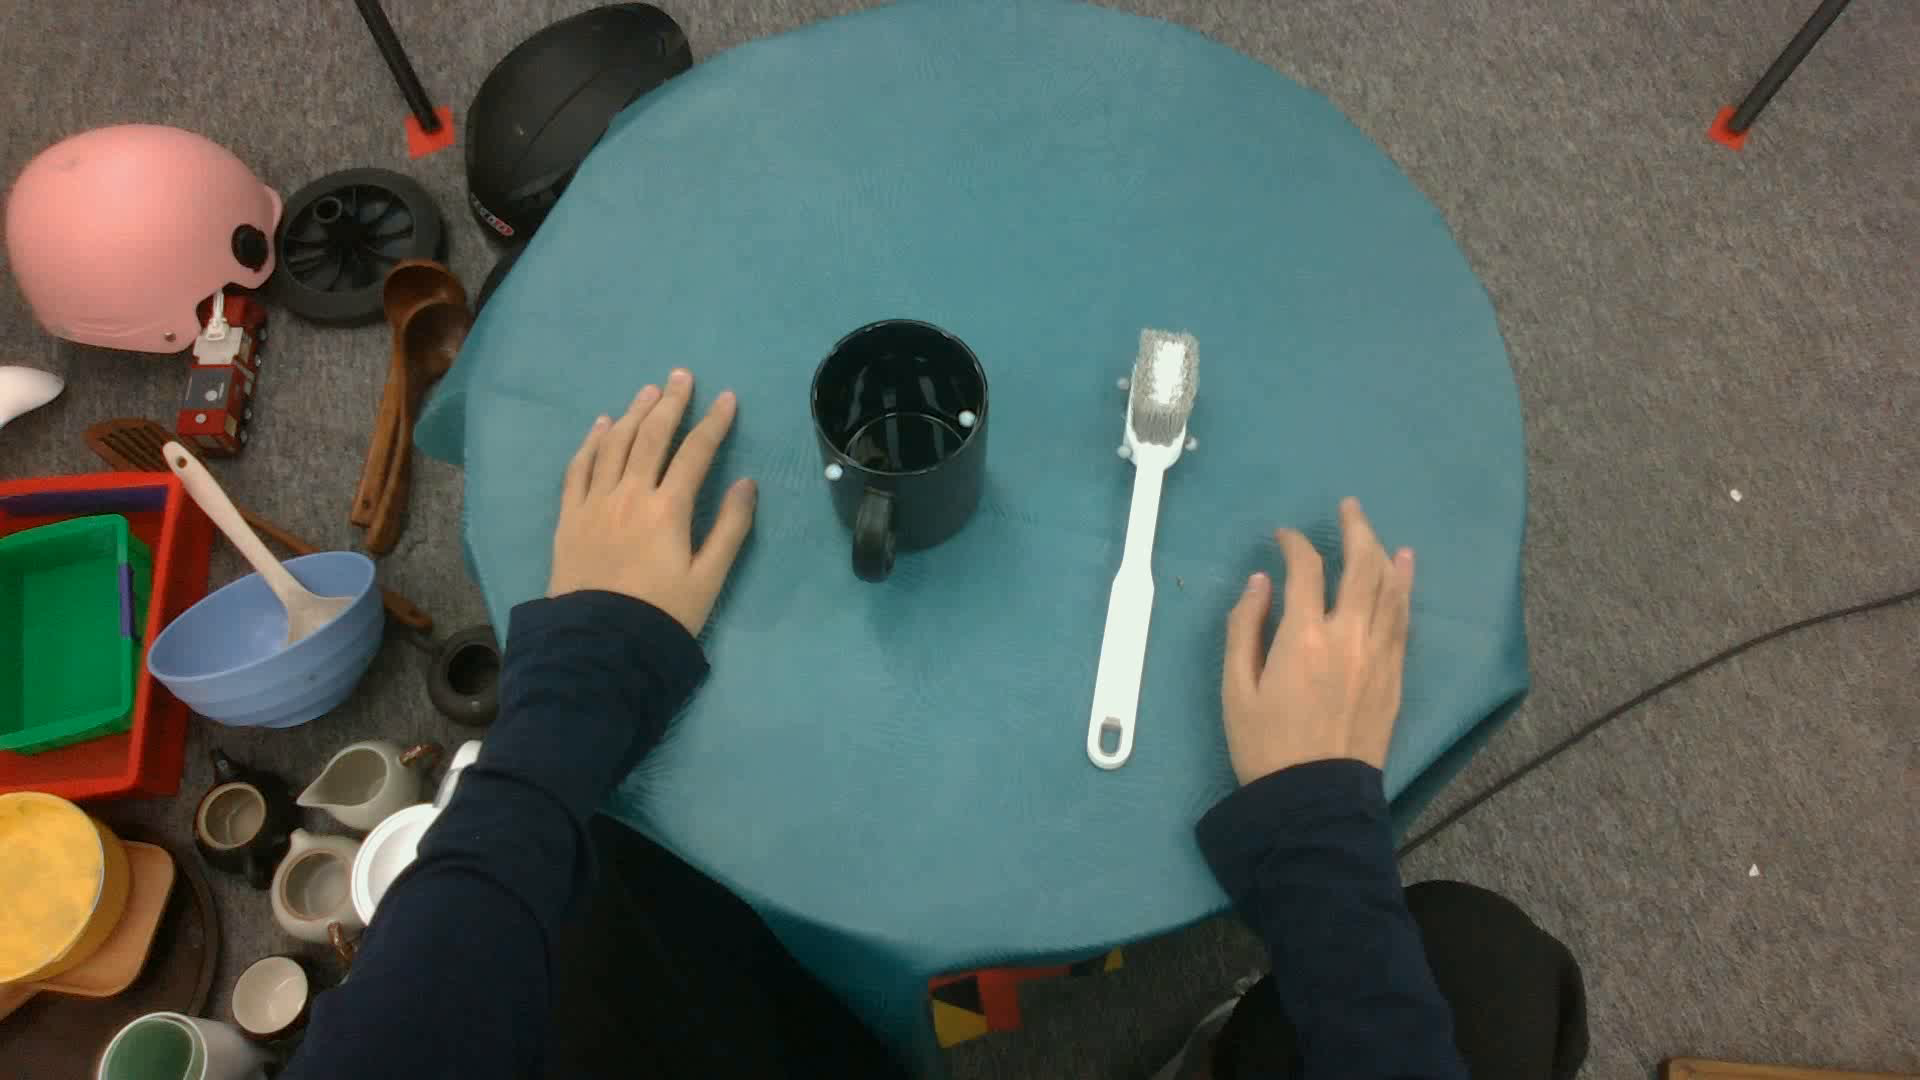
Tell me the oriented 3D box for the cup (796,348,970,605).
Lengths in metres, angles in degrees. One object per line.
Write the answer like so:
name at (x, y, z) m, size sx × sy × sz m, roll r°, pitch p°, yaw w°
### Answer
cup at (-0.045, -0.025, 0.729) m, size 0.088 × 0.105 × 0.124 m, roll 14°, pitch 69°, yaw 3°

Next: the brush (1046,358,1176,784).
brush at (0.082, 0.010, 0.747) m, size 0.034 × 0.050 × 0.244 m, roll 14°, pitch 67°, yaw 0°
